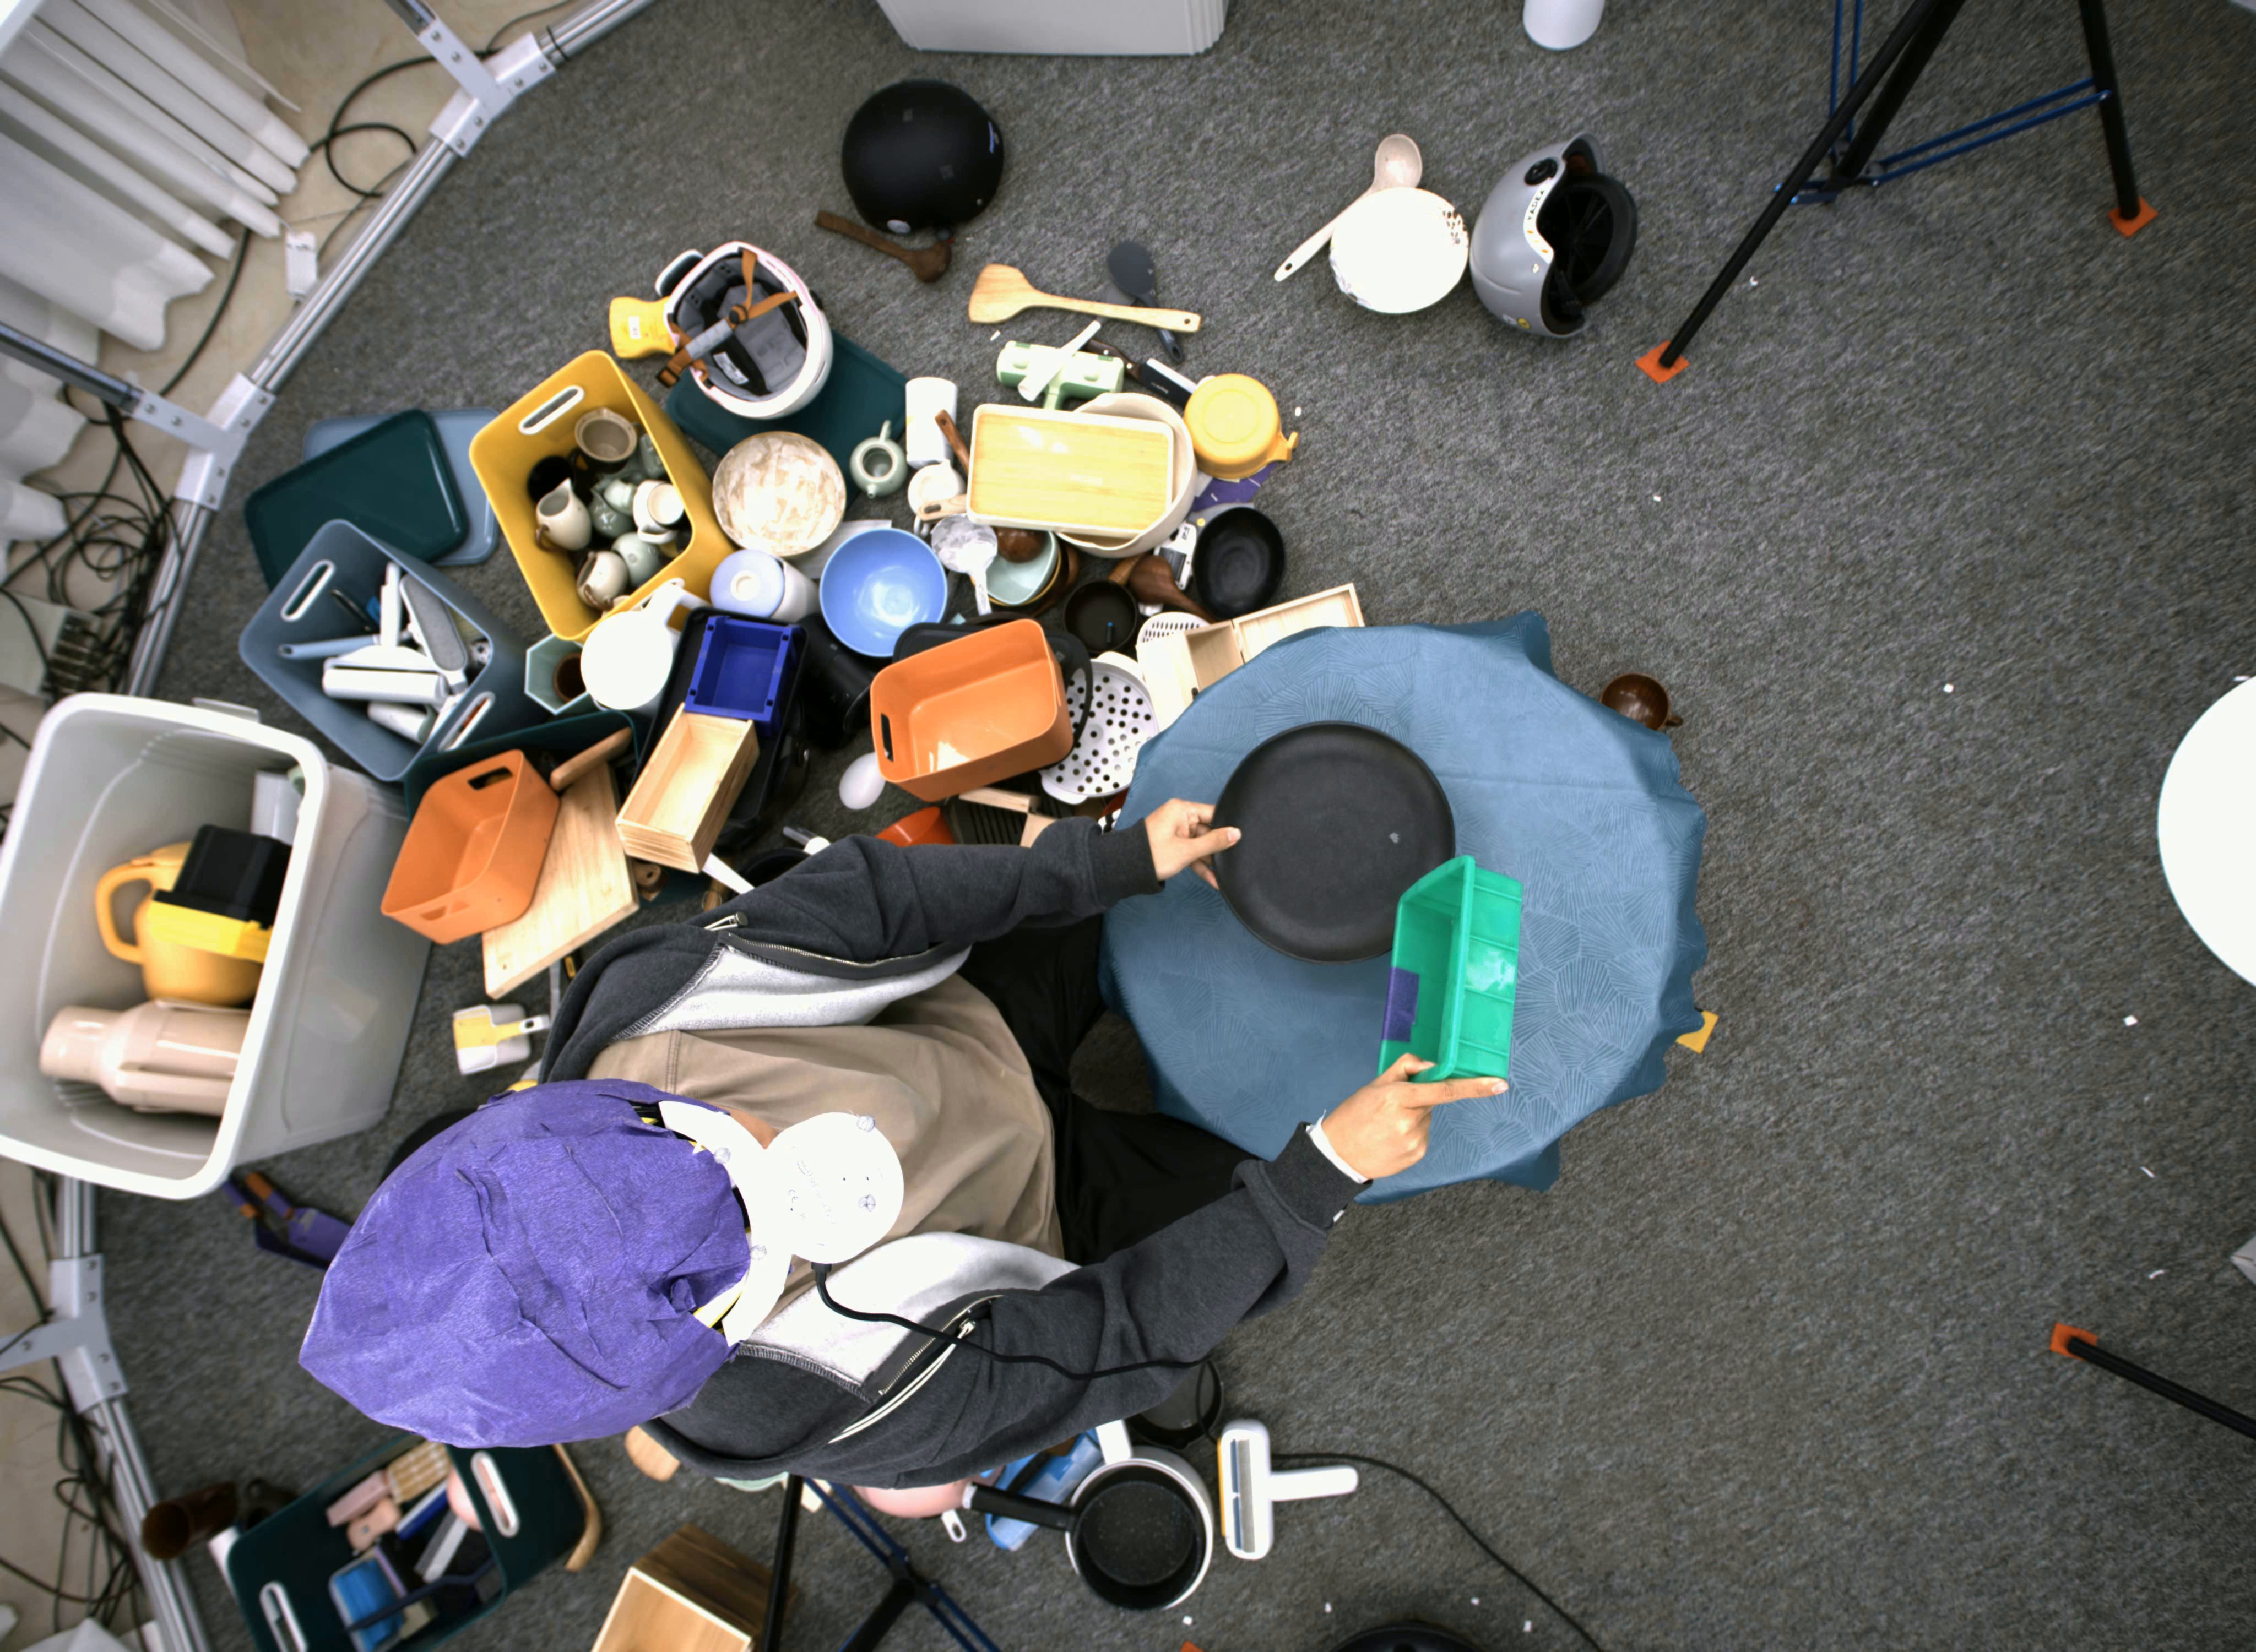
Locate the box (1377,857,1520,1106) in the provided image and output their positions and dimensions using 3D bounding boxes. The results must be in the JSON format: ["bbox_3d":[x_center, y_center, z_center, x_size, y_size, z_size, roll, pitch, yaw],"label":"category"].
[{"bbox_3d":[0.288,0.143,1.228,0.065,0.141,0.206,14,67,-11],"label":"box"}]

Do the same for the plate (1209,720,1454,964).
[{"bbox_3d":[0.202,0.015,1.381,0.245,0.023,0.244,0,90,5],"label":"plate"}]
